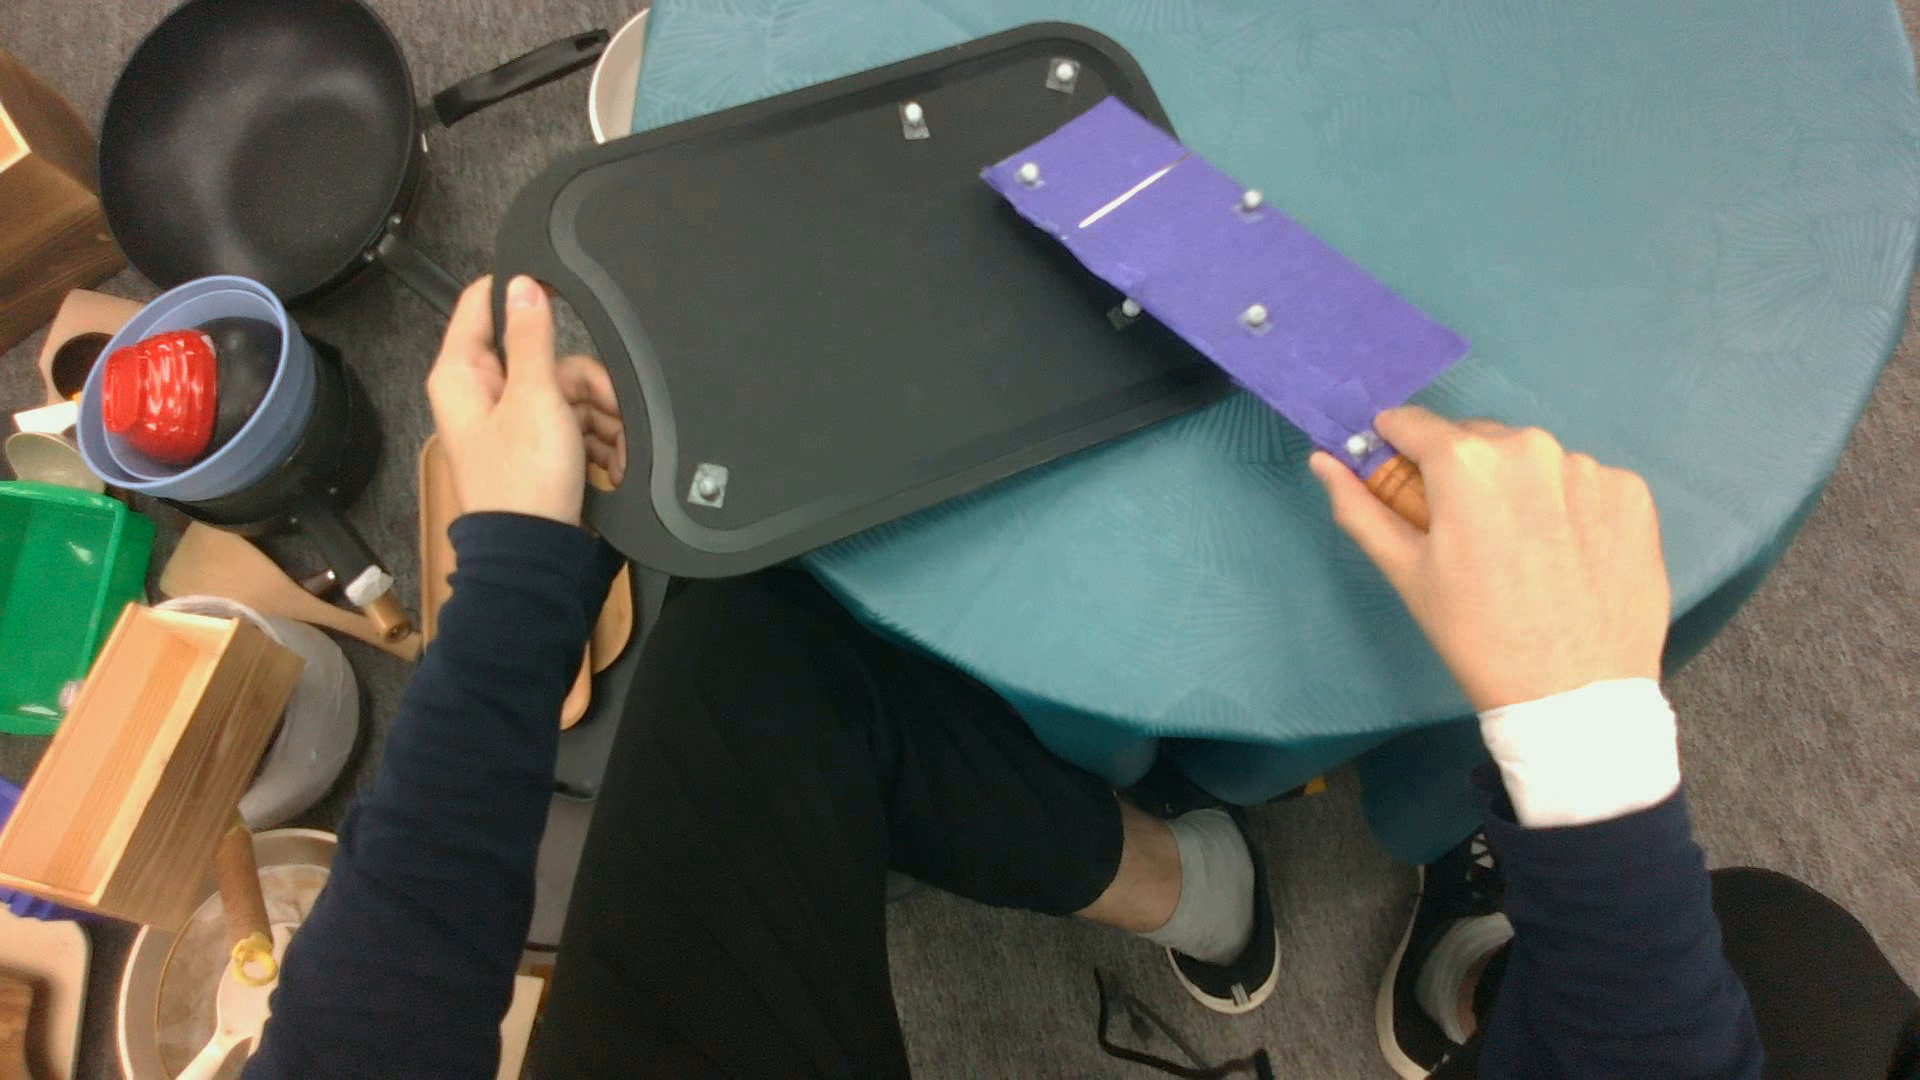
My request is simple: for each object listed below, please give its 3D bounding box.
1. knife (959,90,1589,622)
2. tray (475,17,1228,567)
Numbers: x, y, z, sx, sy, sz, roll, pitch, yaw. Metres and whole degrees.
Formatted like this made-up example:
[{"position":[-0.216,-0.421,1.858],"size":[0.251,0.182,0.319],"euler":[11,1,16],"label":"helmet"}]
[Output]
[{"position":[0.139,-0.097,0.573],"size":[0.104,0.032,0.315],"euler":[-37,66,-20],"label":"knife"},{"position":[-0.044,-0.117,0.608],"size":[0.326,0.010,0.211],"euler":[-20,77,-14],"label":"tray"}]
